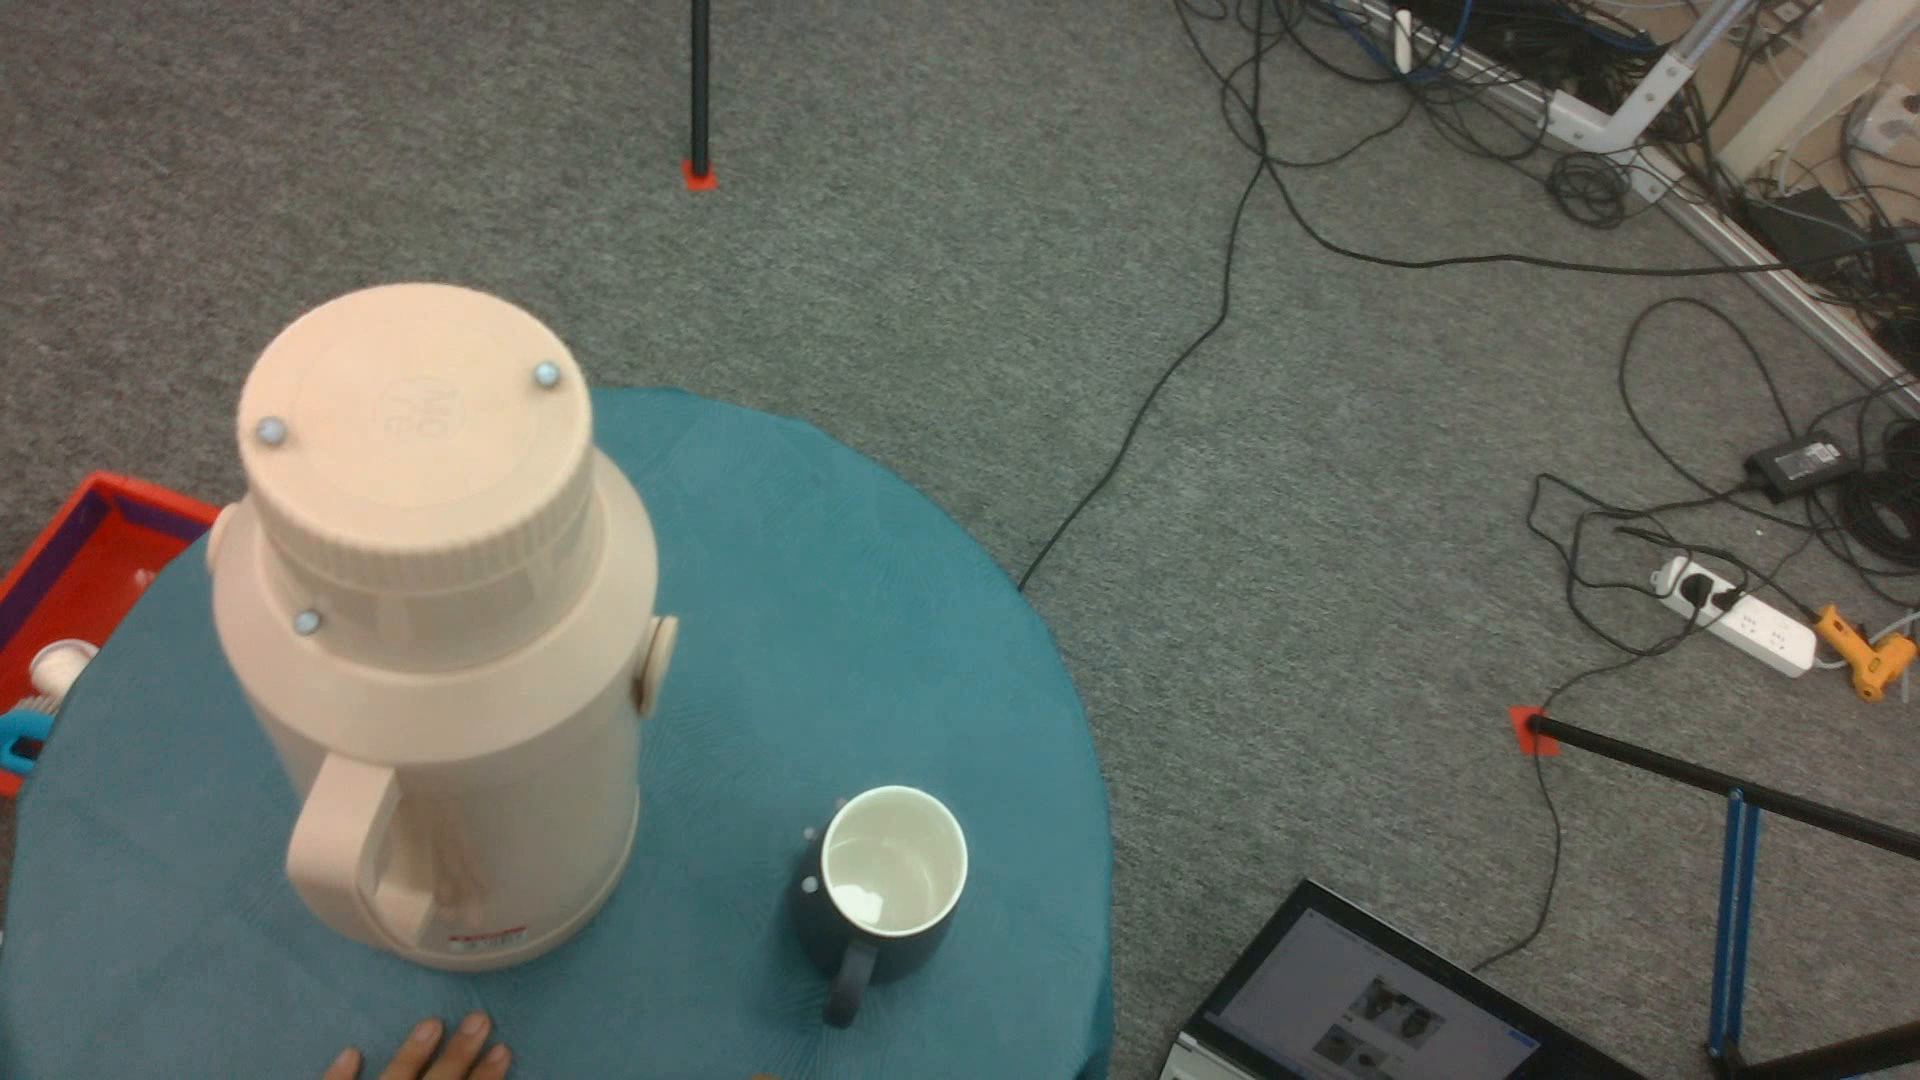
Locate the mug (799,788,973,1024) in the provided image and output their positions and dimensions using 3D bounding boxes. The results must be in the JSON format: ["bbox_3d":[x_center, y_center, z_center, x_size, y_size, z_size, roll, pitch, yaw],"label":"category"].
[{"bbox_3d":[-0.045,0.205,0.764,0.093,0.089,0.124,19,56,-2],"label":"mug"}]

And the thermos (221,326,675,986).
[{"bbox_3d":[-0.222,0.084,0.612,0.175,0.404,0.208,12,57,-7],"label":"thermos"}]
